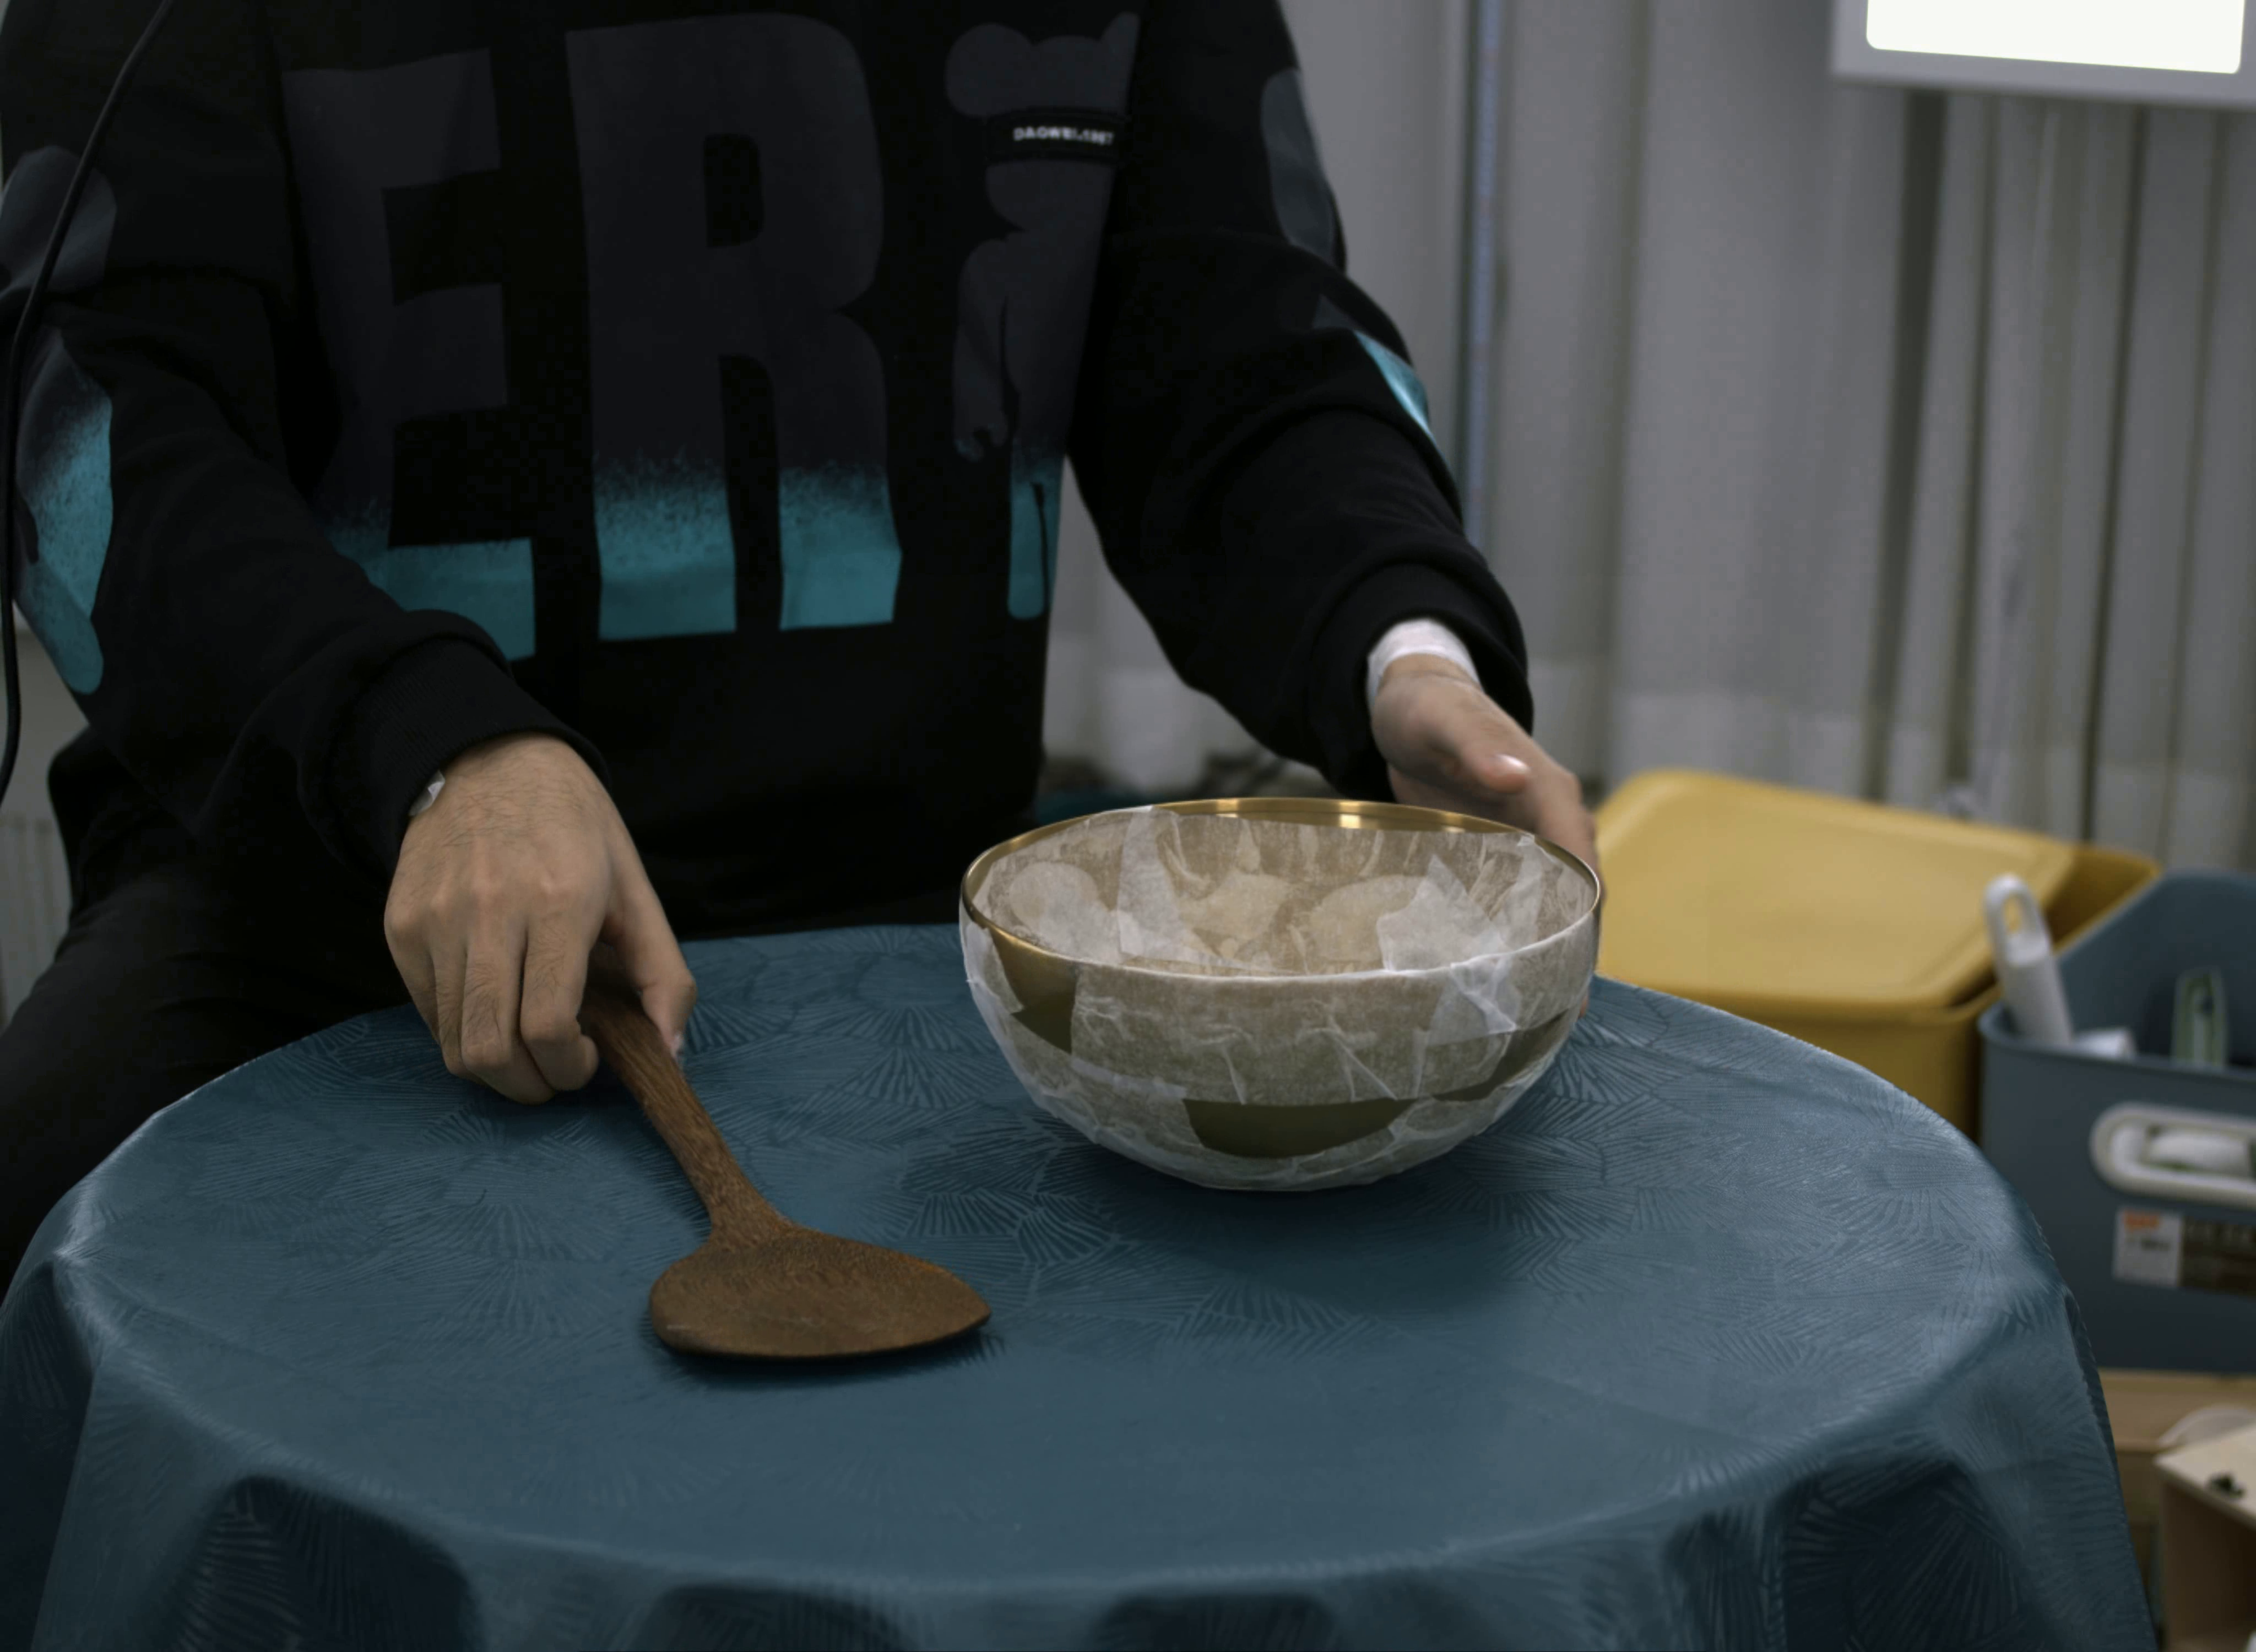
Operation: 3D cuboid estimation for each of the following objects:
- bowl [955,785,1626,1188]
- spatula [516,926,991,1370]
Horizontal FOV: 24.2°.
[{"bbox_3d":[0.050,0.058,1.646,0.214,0.095,0.213,-1,16,1],"label":"bowl"},{"bbox_3d":[-0.139,0.093,1.643,0.096,0.016,0.381,-4,19,-19],"label":"spatula"}]
